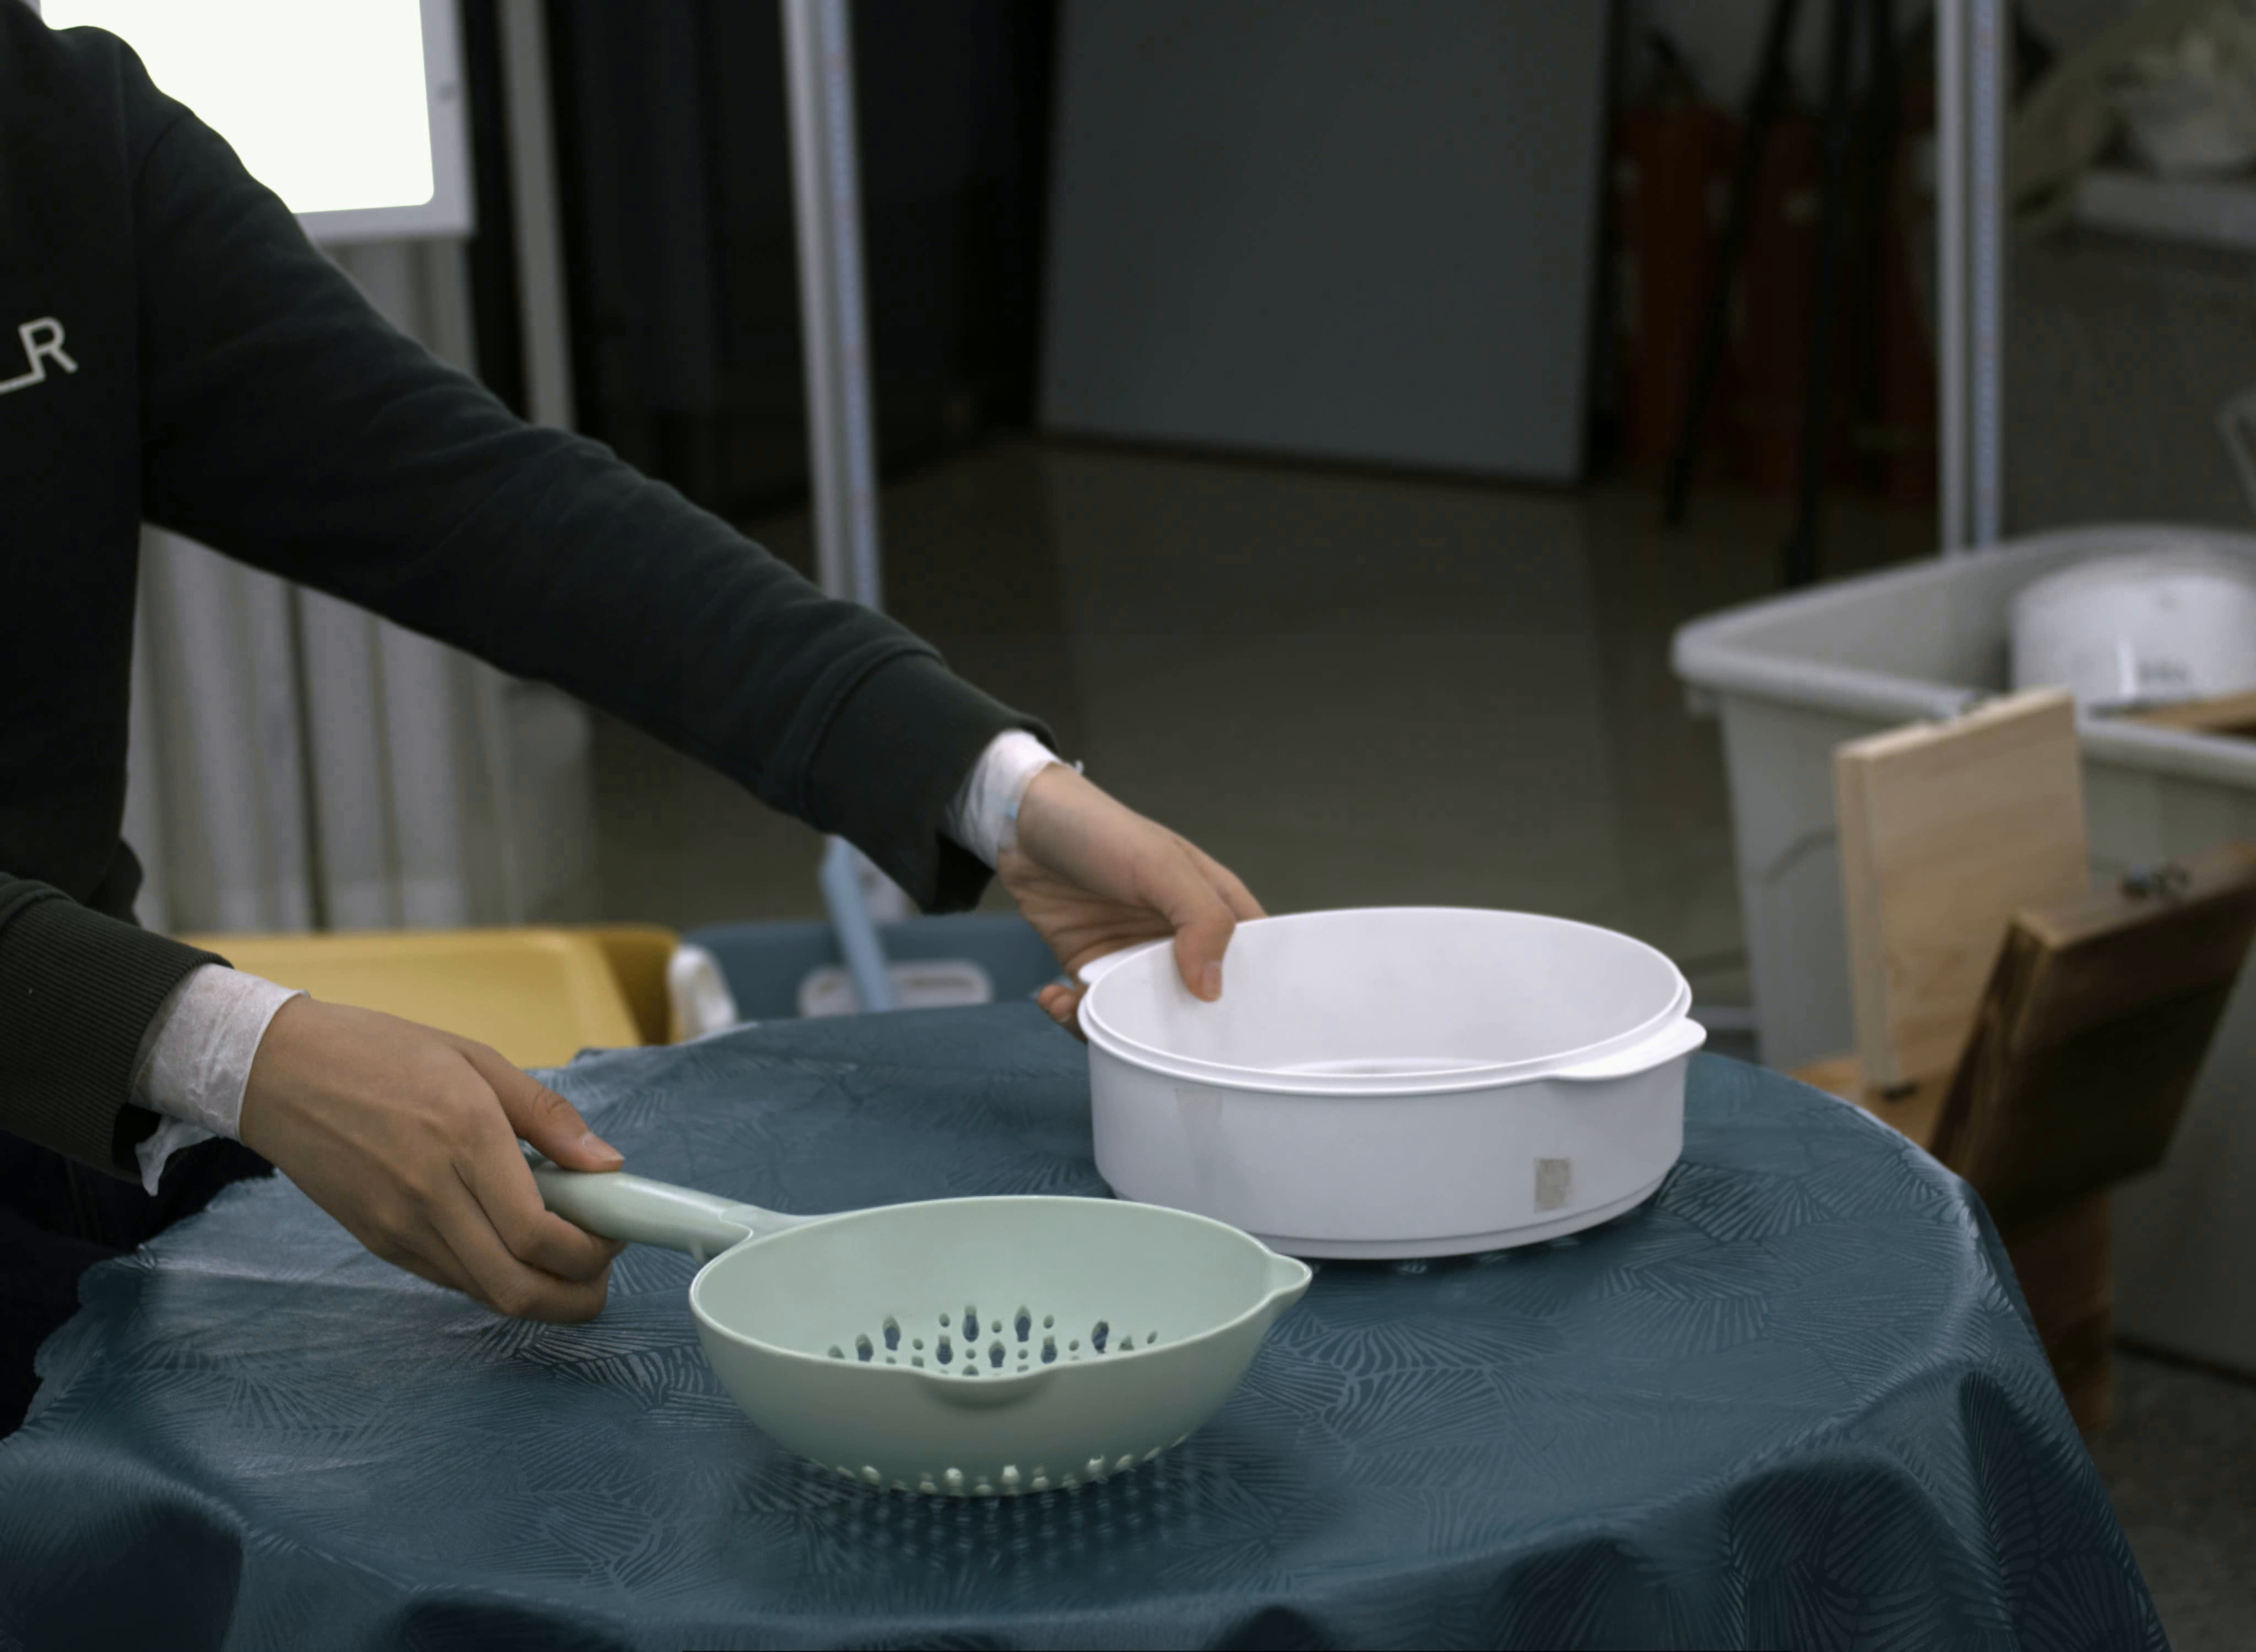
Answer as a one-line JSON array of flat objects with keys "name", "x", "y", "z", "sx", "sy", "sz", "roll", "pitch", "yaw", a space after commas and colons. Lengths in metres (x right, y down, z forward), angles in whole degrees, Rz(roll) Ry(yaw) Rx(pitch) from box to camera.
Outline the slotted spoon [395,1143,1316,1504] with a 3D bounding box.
[{"name": "slotted spoon", "x": -0.106, "y": 0.130, "z": 1.593, "sx": 0.166, "sy": 0.076, "sz": 0.362, "roll": -12, "pitch": 22, "yaw": -42}]

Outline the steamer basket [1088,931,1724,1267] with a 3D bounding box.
[{"name": "steamer basket", "x": 0.089, "y": 0.088, "z": 1.749, "sx": 0.232, "sy": 0.070, "sz": 0.198, "roll": 7, "pitch": 15, "yaw": 40}]
